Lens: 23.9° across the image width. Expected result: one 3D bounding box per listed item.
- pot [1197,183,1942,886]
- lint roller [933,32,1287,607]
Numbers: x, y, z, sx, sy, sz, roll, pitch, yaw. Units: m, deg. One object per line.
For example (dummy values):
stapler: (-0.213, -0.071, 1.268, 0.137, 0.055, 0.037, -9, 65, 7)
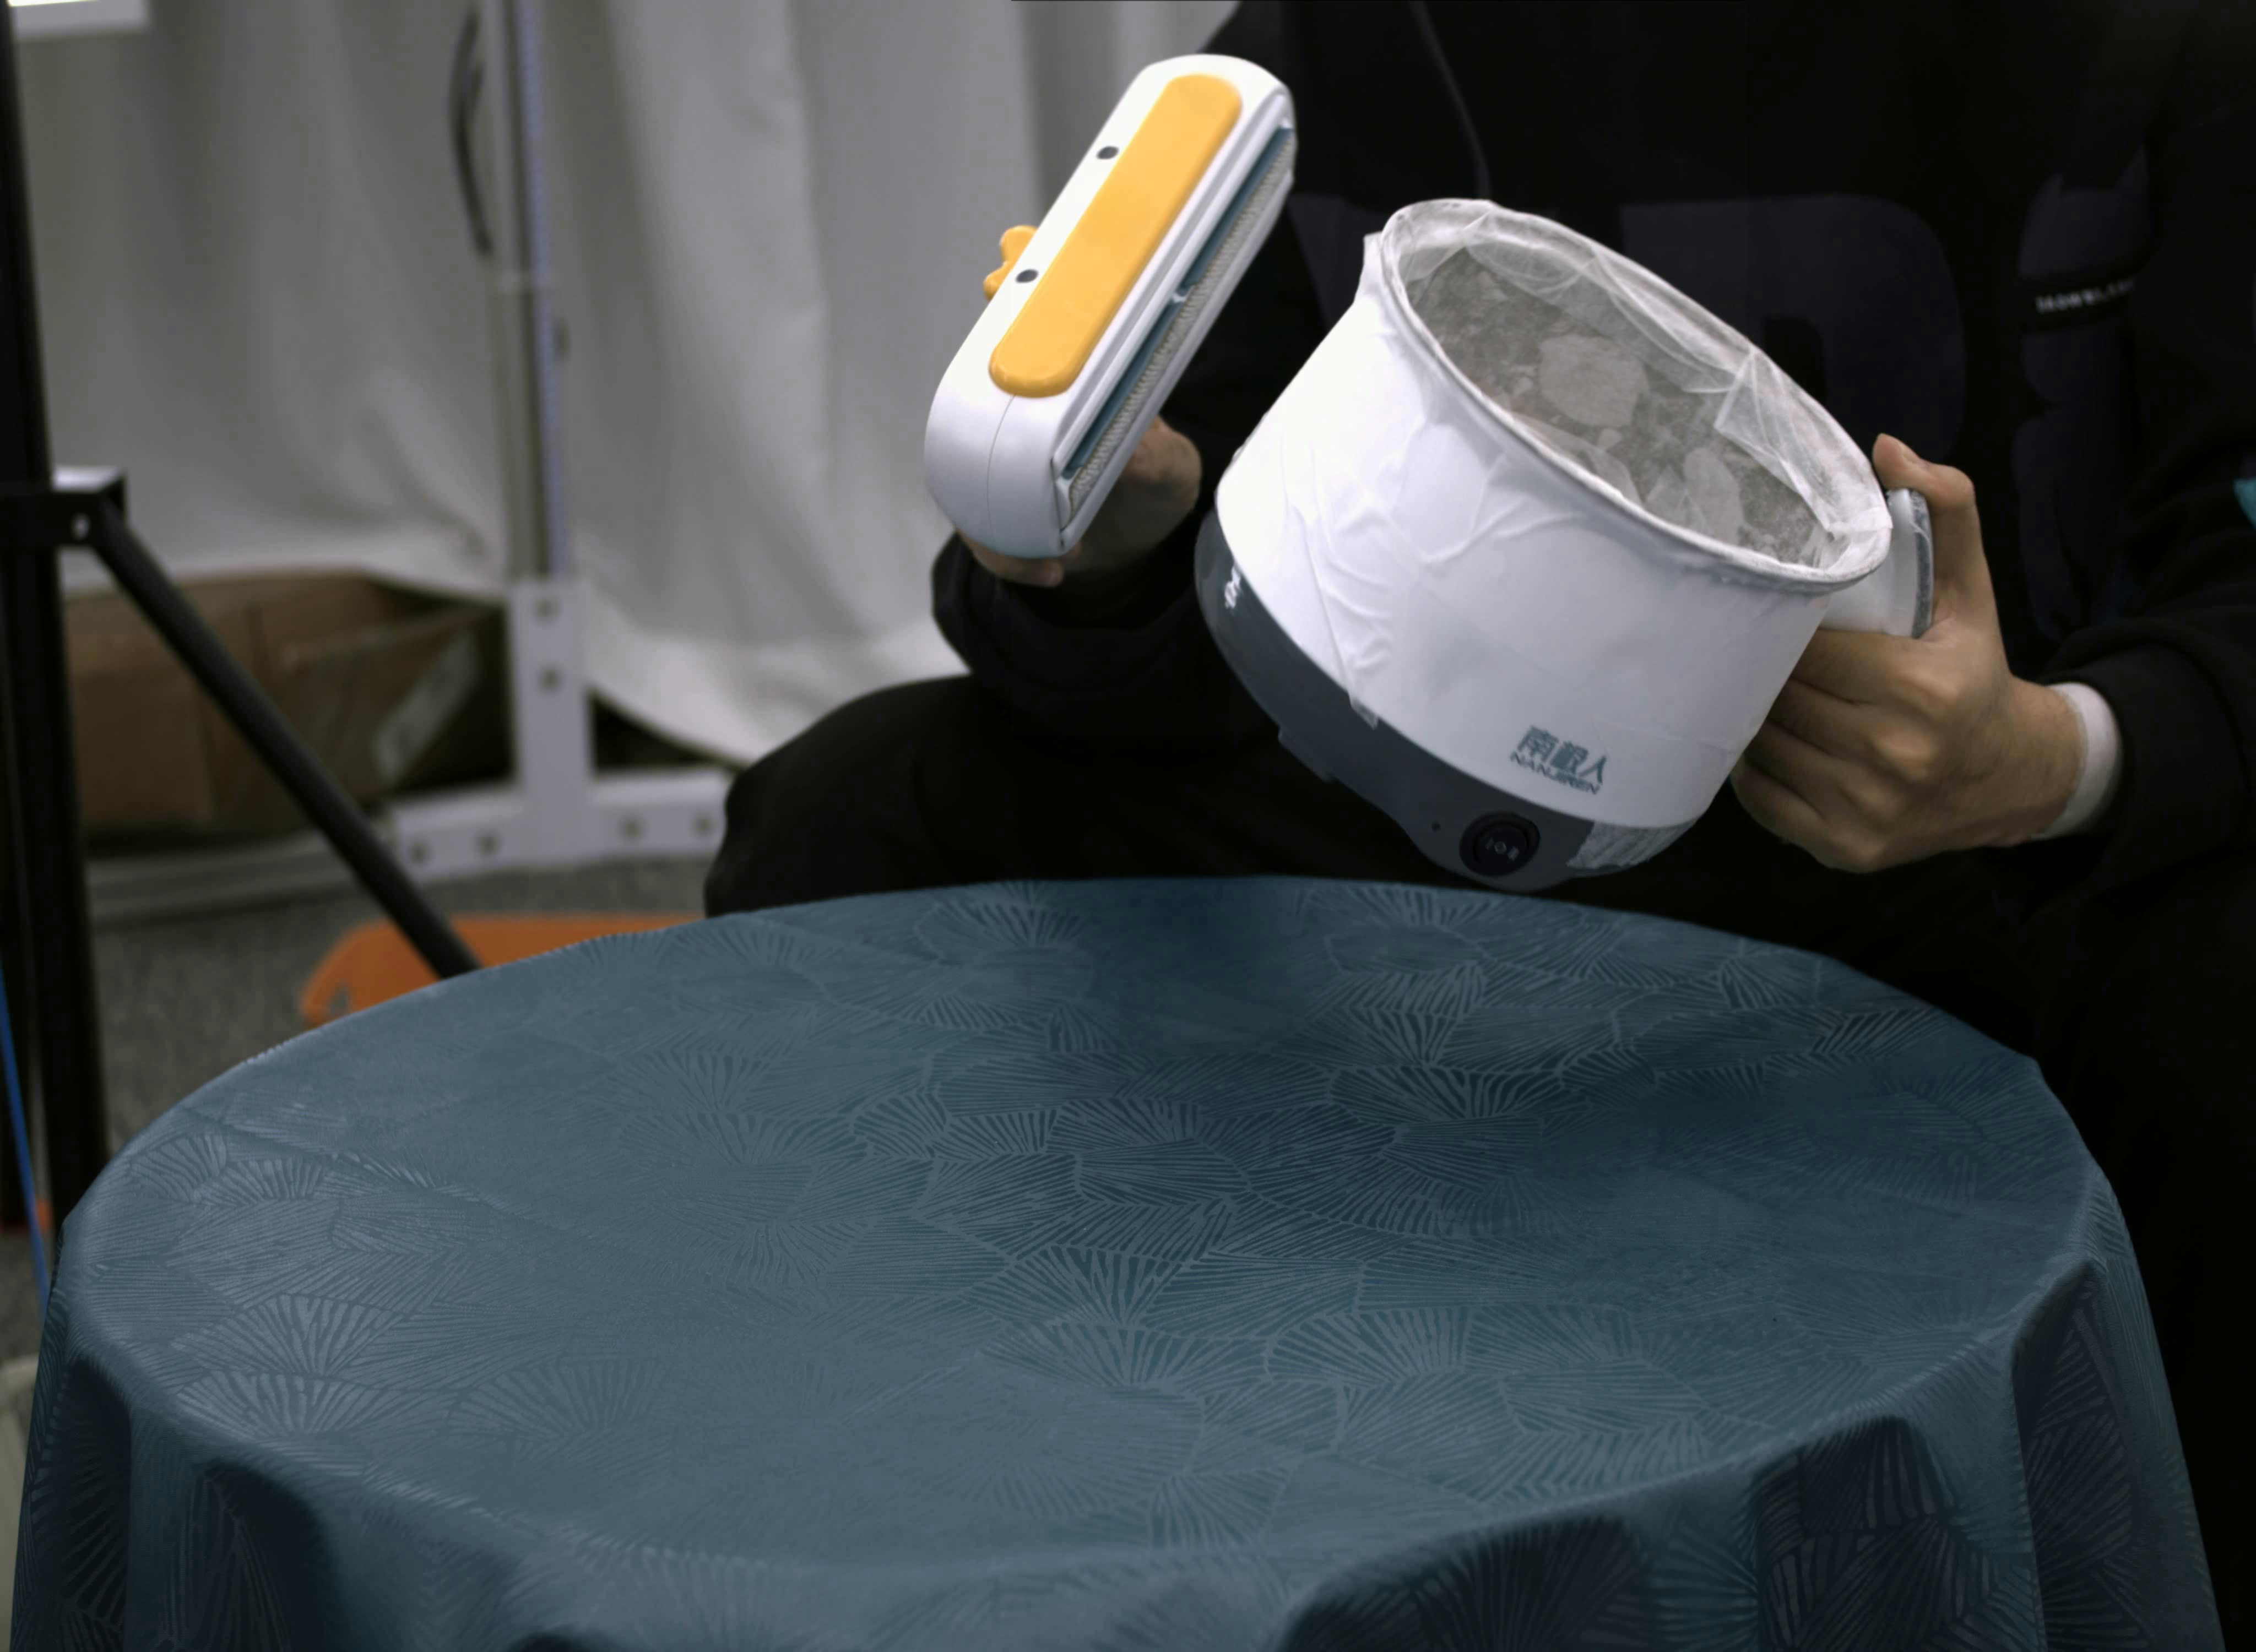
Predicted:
pot: (0.143, -0.076, 1.594, 0.229, 0.137, 0.181, 20, 32, -22)
lint roller: (-0.014, -0.138, 1.735, 0.074, 0.191, 0.192, 19, 53, 9)
